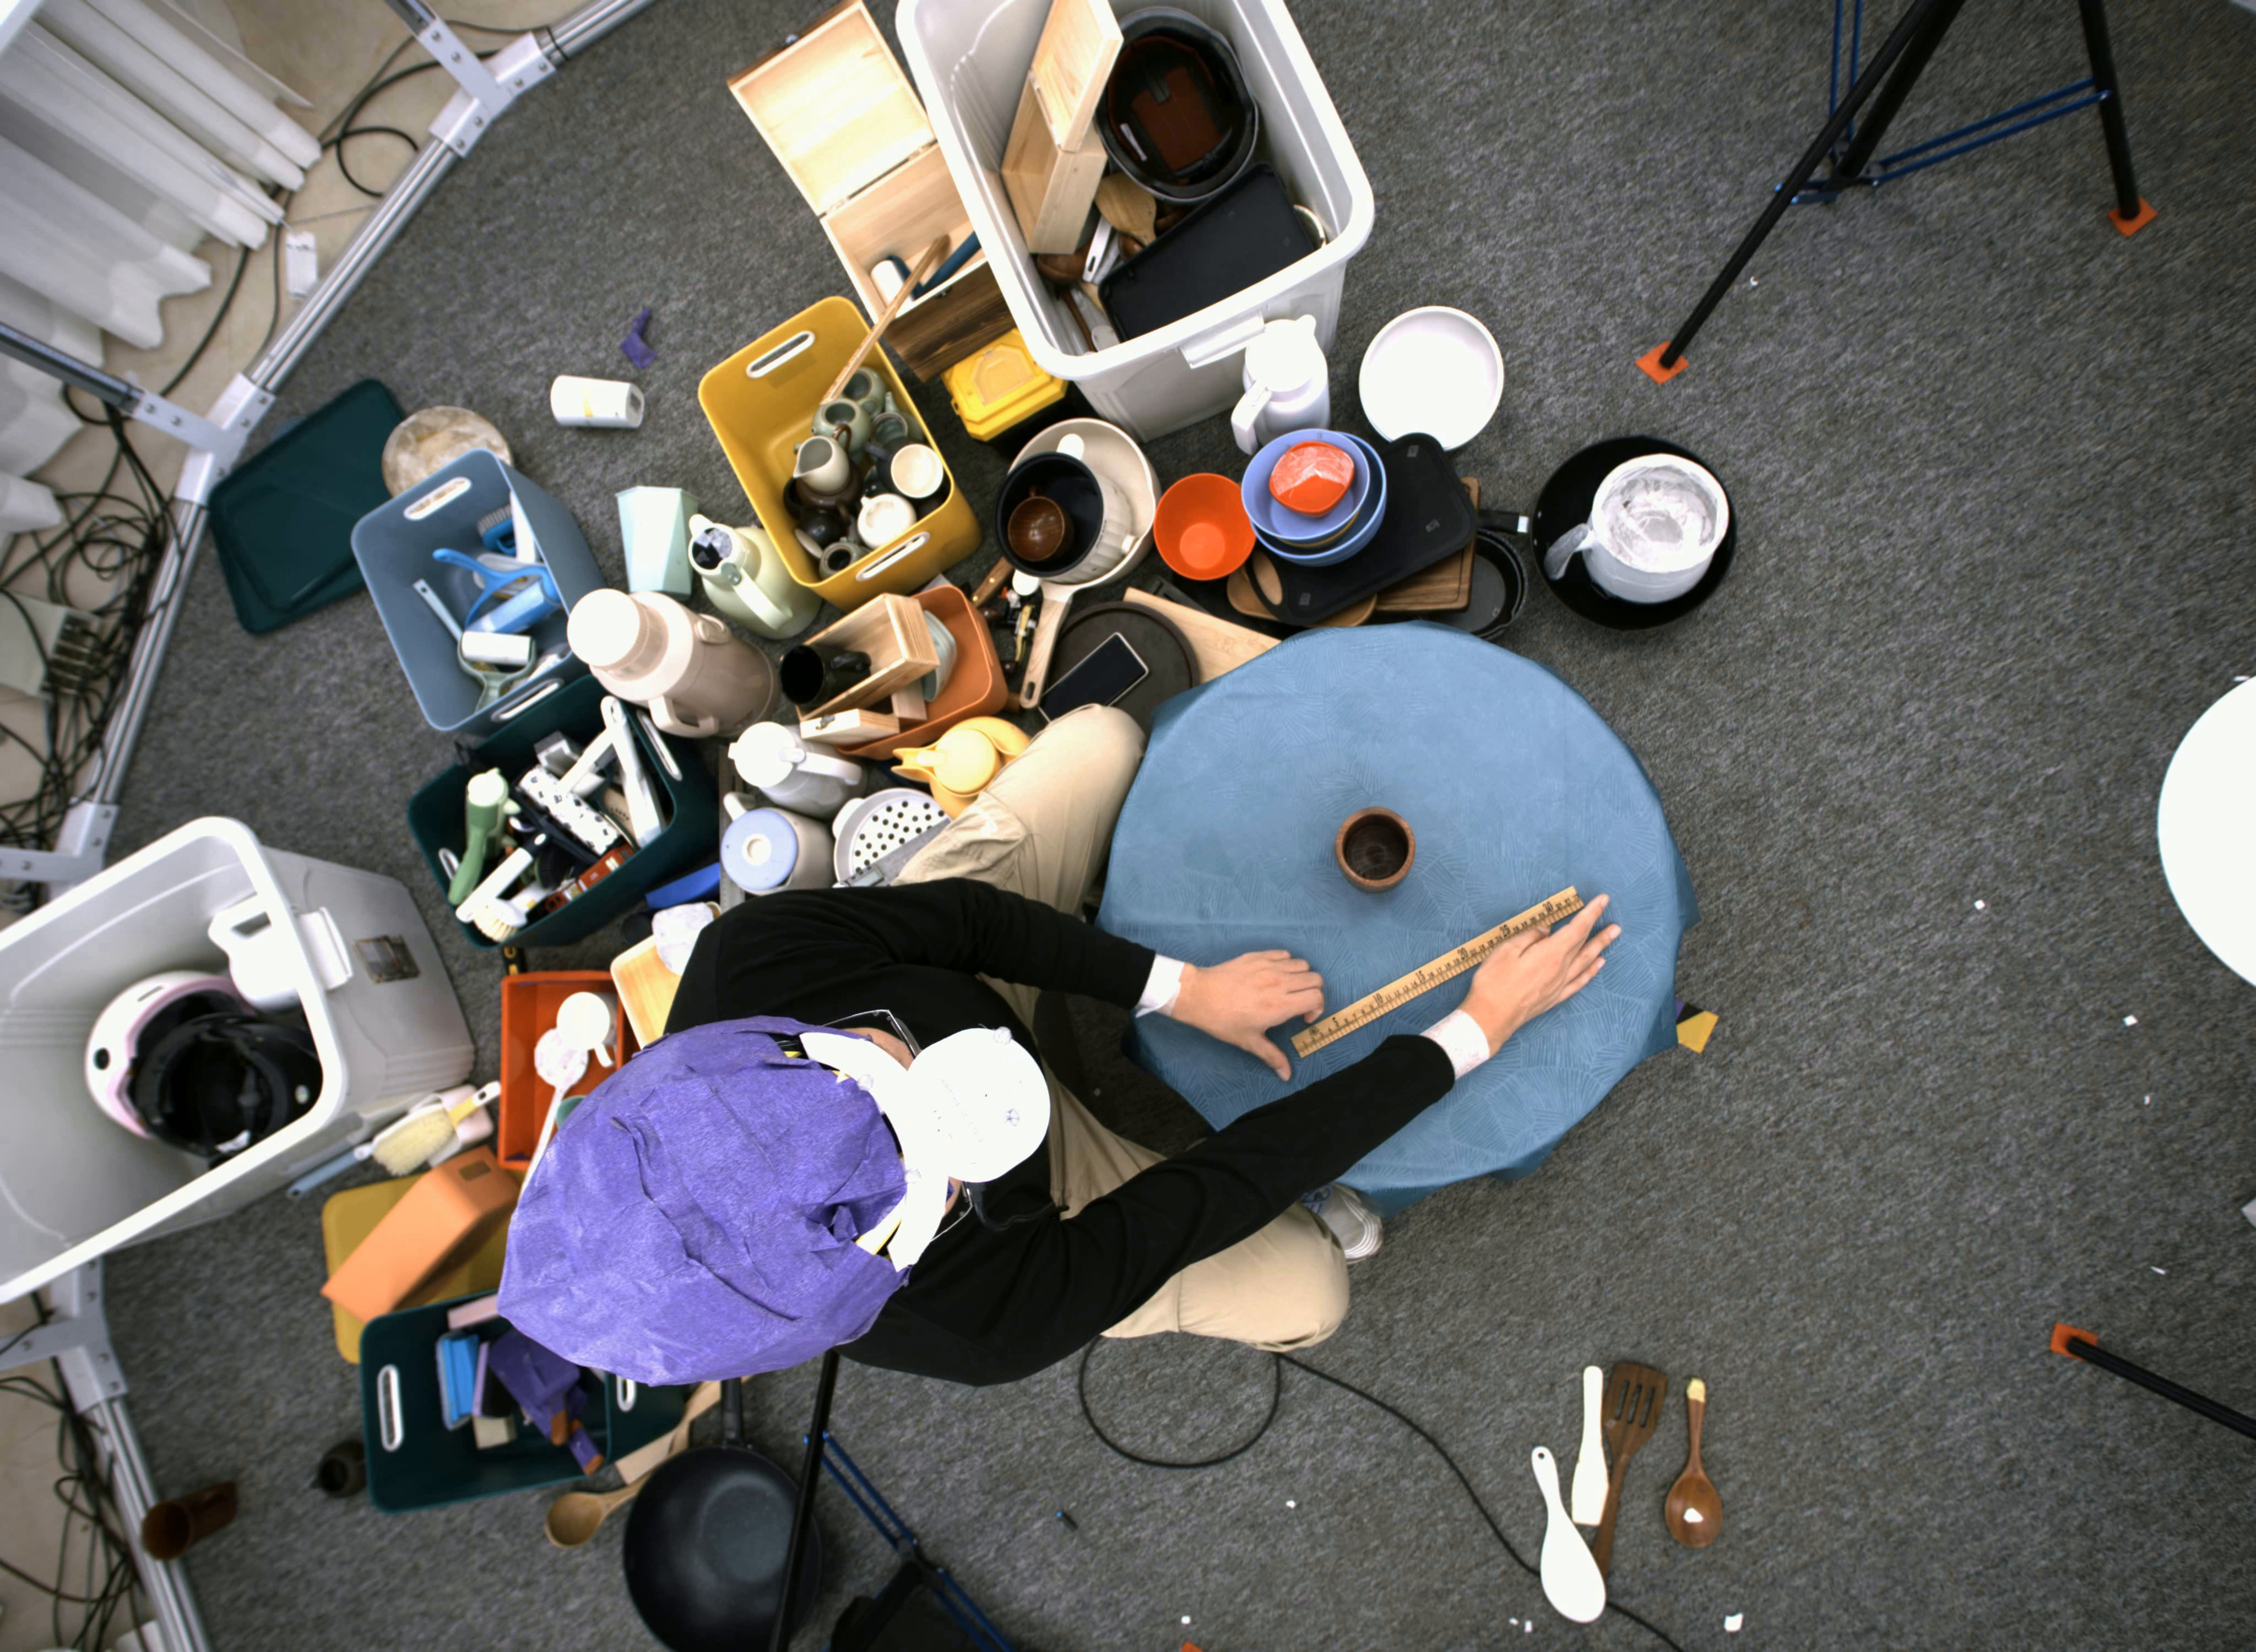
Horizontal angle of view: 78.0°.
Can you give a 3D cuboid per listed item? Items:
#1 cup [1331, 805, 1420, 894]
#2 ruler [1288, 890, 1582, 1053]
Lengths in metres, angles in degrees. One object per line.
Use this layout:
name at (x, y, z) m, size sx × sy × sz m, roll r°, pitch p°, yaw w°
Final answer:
cup at (0.254, 0.025, 1.407) m, size 0.088 × 0.118 × 0.087 m, roll -1°, pitch 84°, yaw 11°
ruler at (0.319, 0.151, 1.442) m, size 0.334 × 0.022 × 0.027 m, roll -28°, pitch 76°, yaw 8°
